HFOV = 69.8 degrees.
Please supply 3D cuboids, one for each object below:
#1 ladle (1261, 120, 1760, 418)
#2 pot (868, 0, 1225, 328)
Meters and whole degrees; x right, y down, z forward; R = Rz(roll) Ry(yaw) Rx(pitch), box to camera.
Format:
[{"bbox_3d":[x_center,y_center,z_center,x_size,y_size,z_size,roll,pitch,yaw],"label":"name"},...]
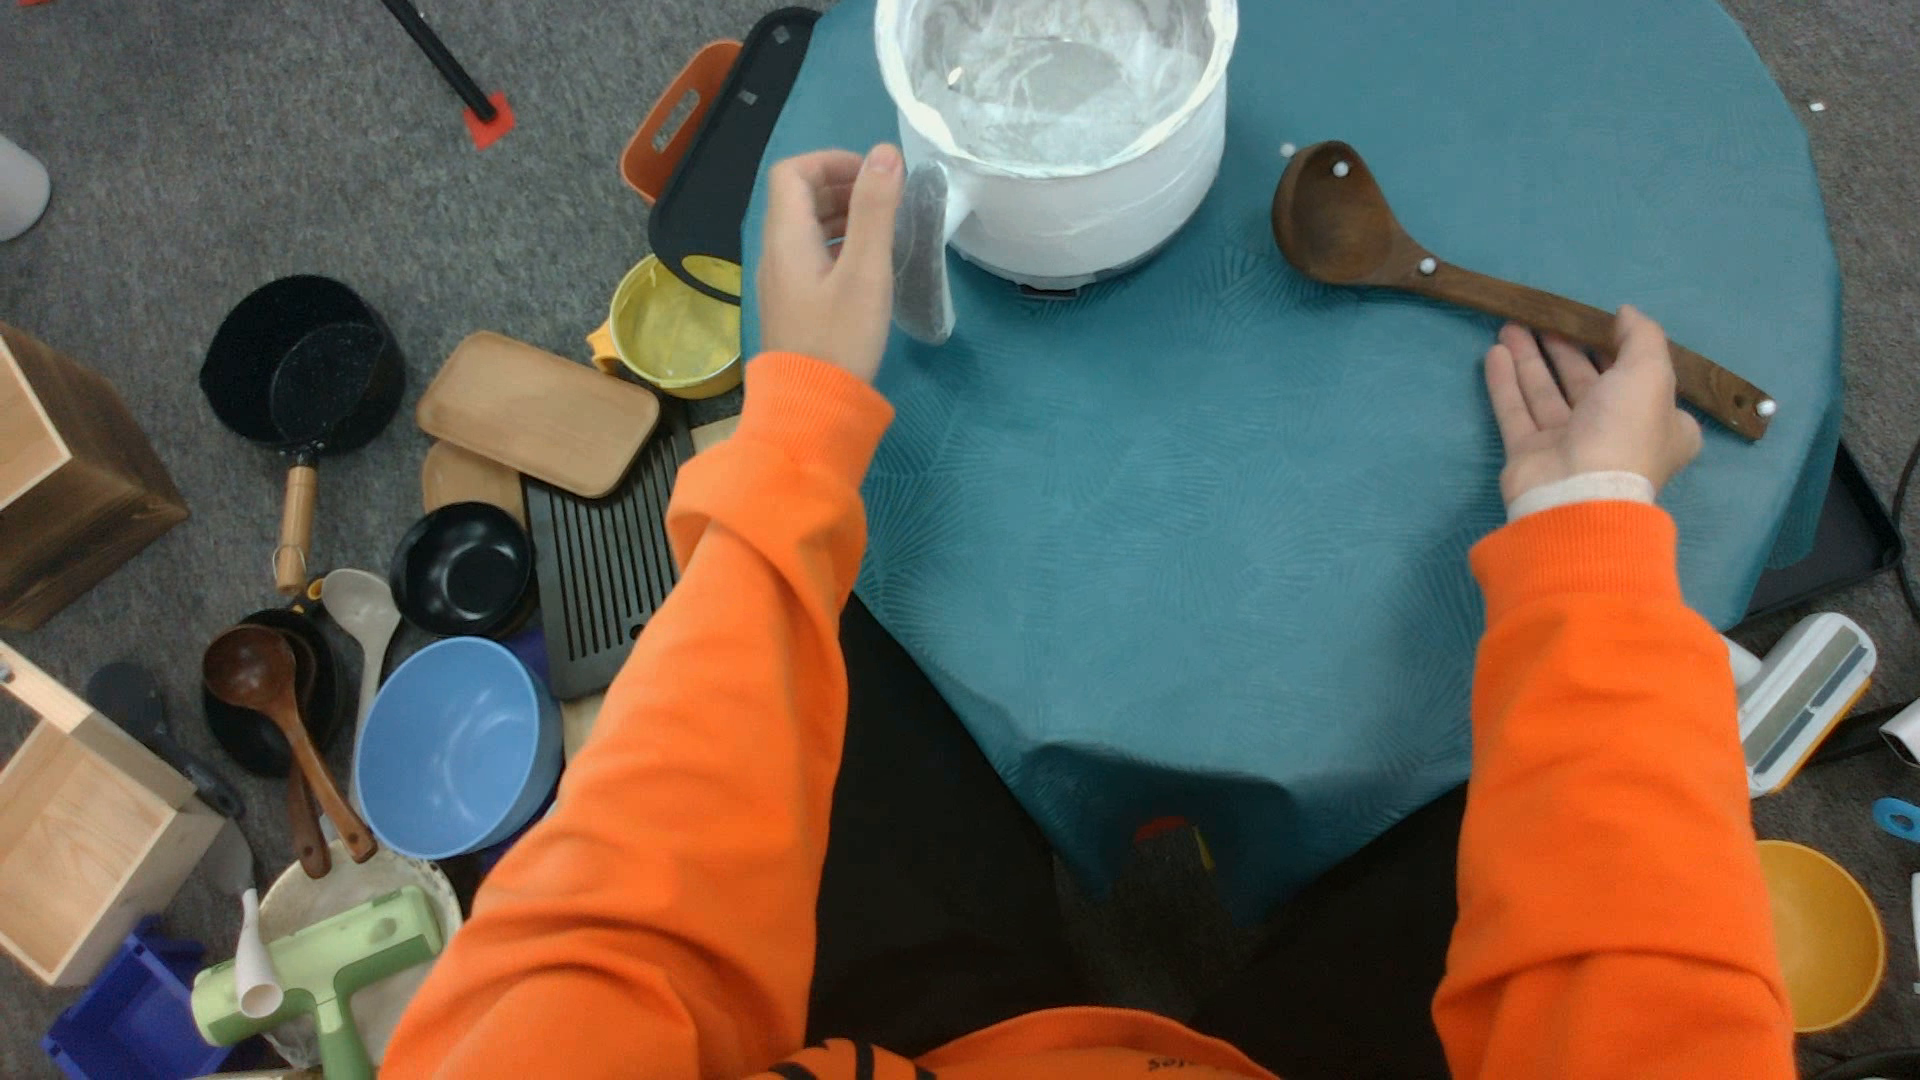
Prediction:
[{"bbox_3d":[0.286,-0.138,0.712,0.274,0.071,0.076,26,81,14],"label":"ladle"},{"bbox_3d":[0.033,-0.223,0.730,0.179,0.136,0.234,32,79,15],"label":"pot"}]
